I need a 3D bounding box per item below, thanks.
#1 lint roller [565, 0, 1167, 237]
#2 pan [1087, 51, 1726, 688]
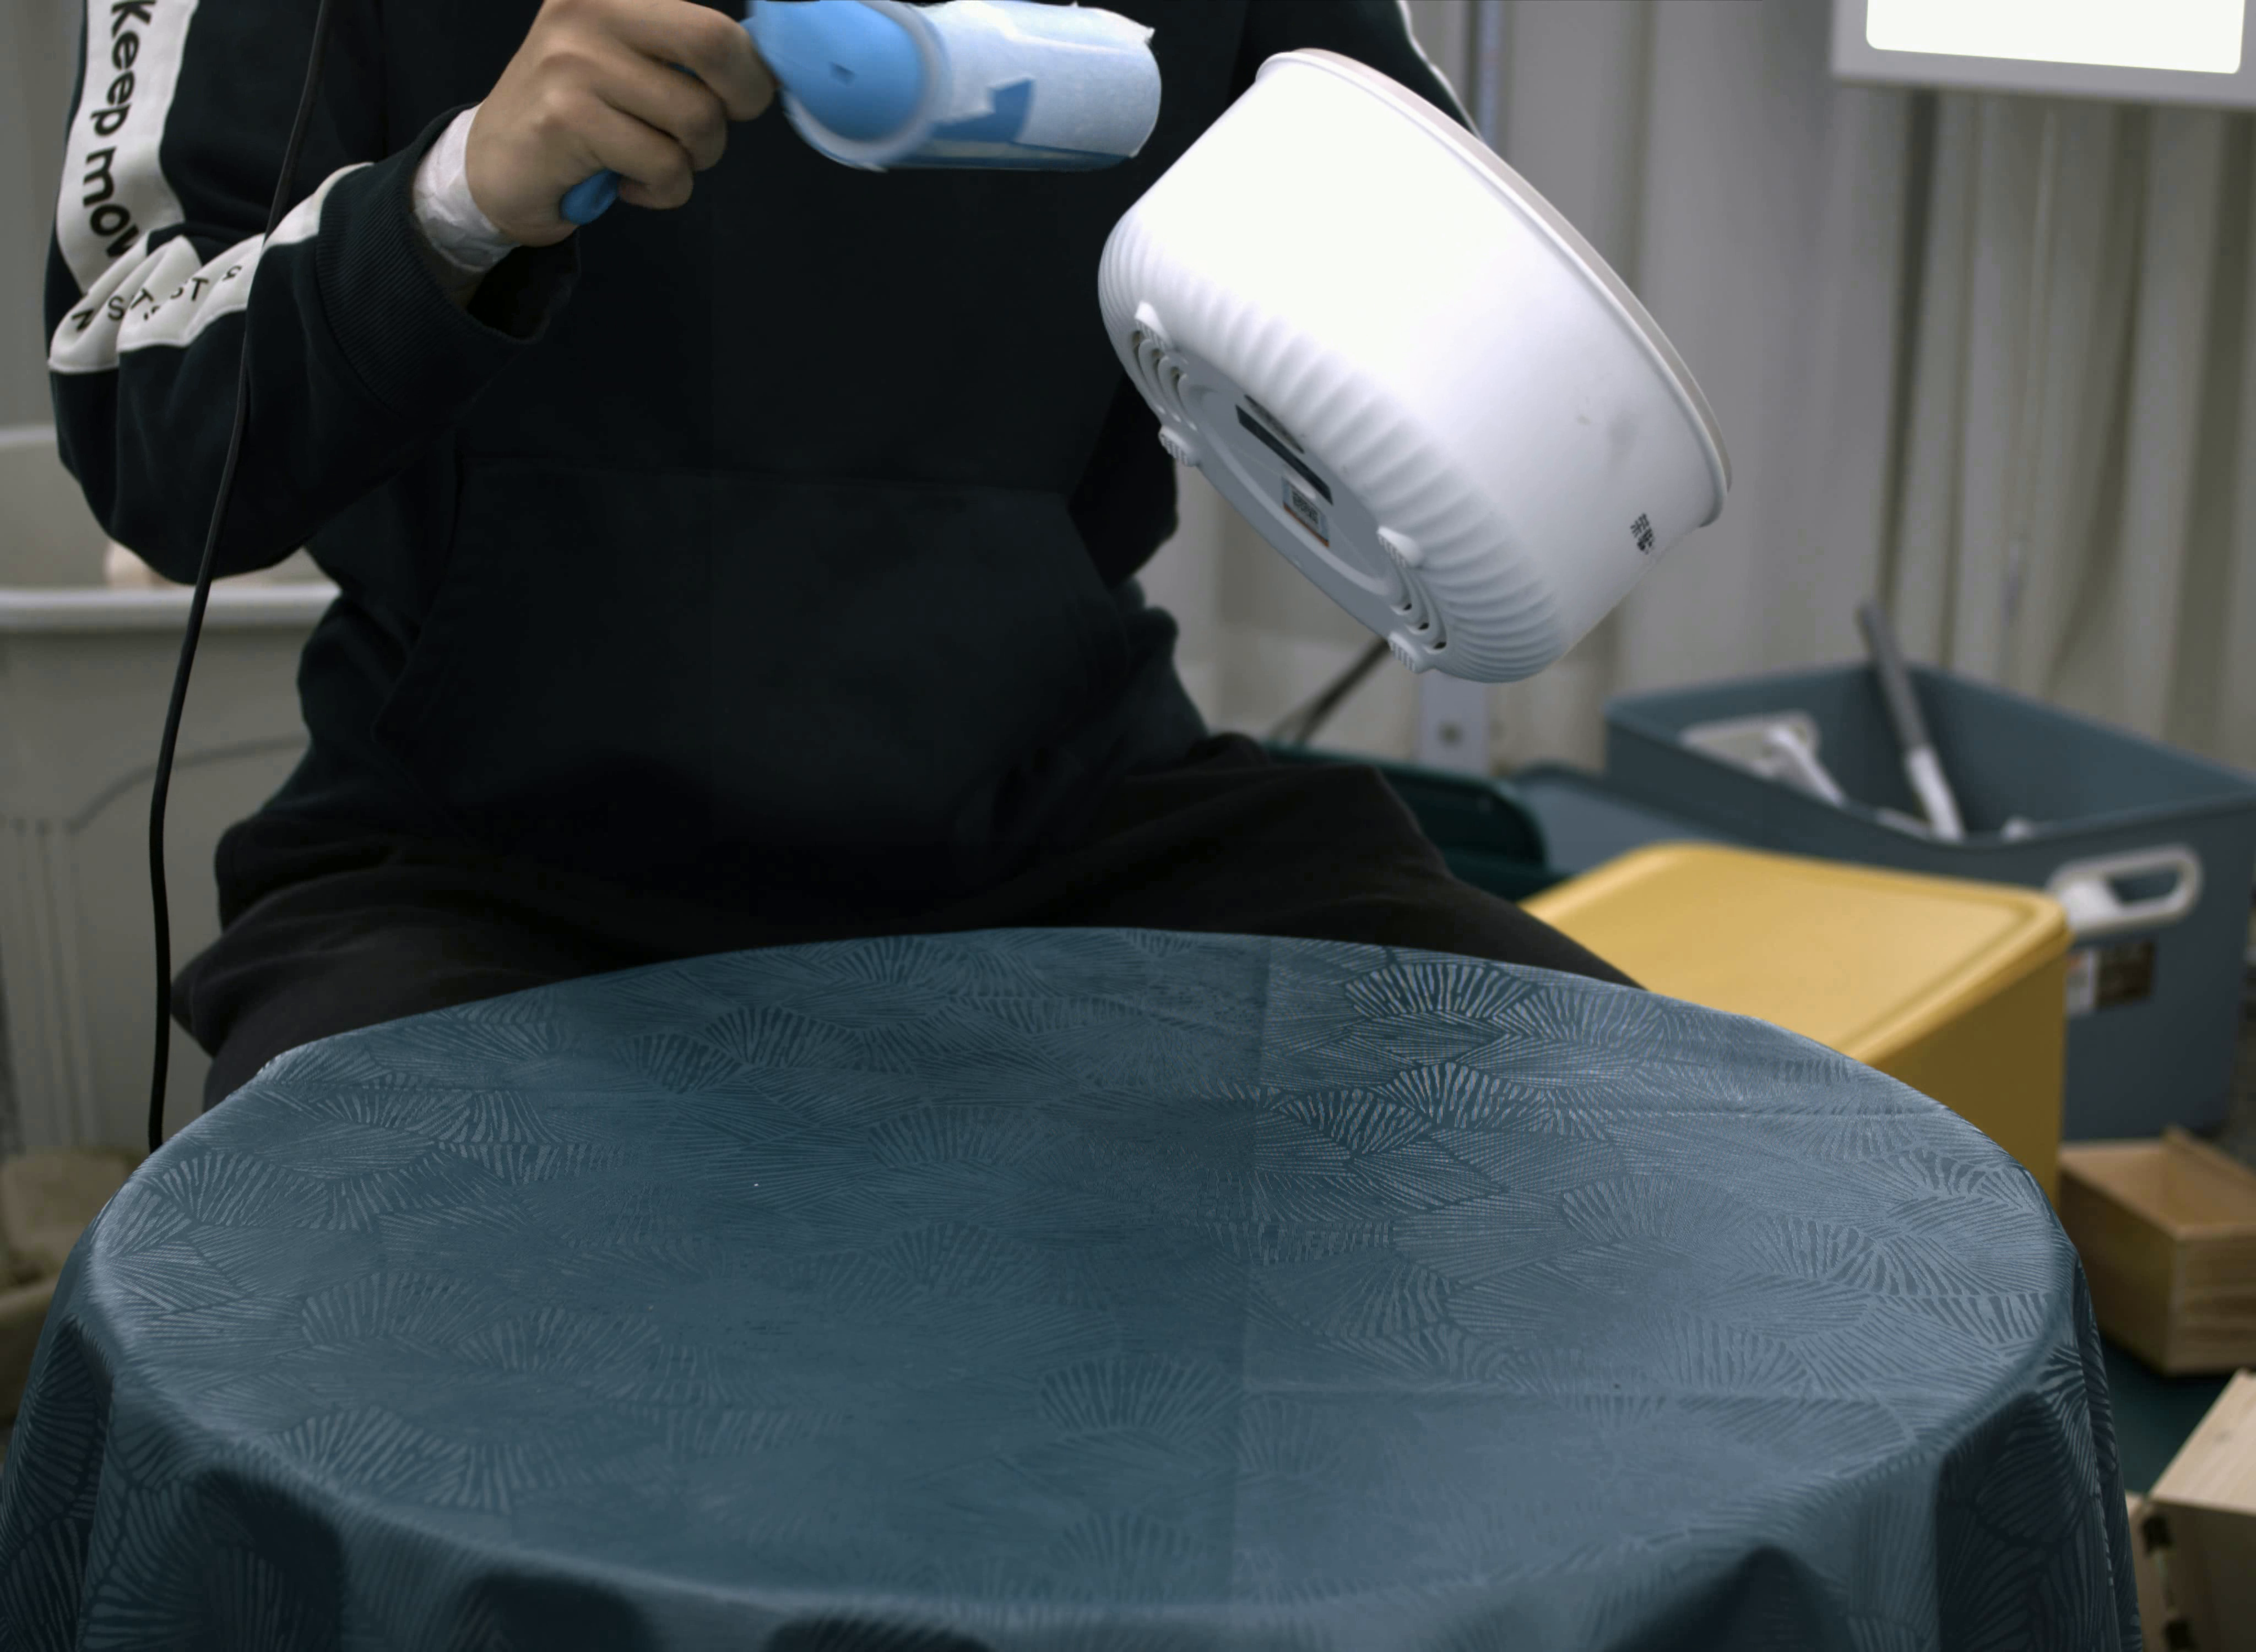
[{"bbox_3d":[-0.102,-0.233,1.681,0.179,0.068,0.229,-5,4,19],"label":"lint roller"},{"bbox_3d":[0.083,-0.111,1.706,0.200,0.102,0.357,41,-11,14],"label":"pan"}]
